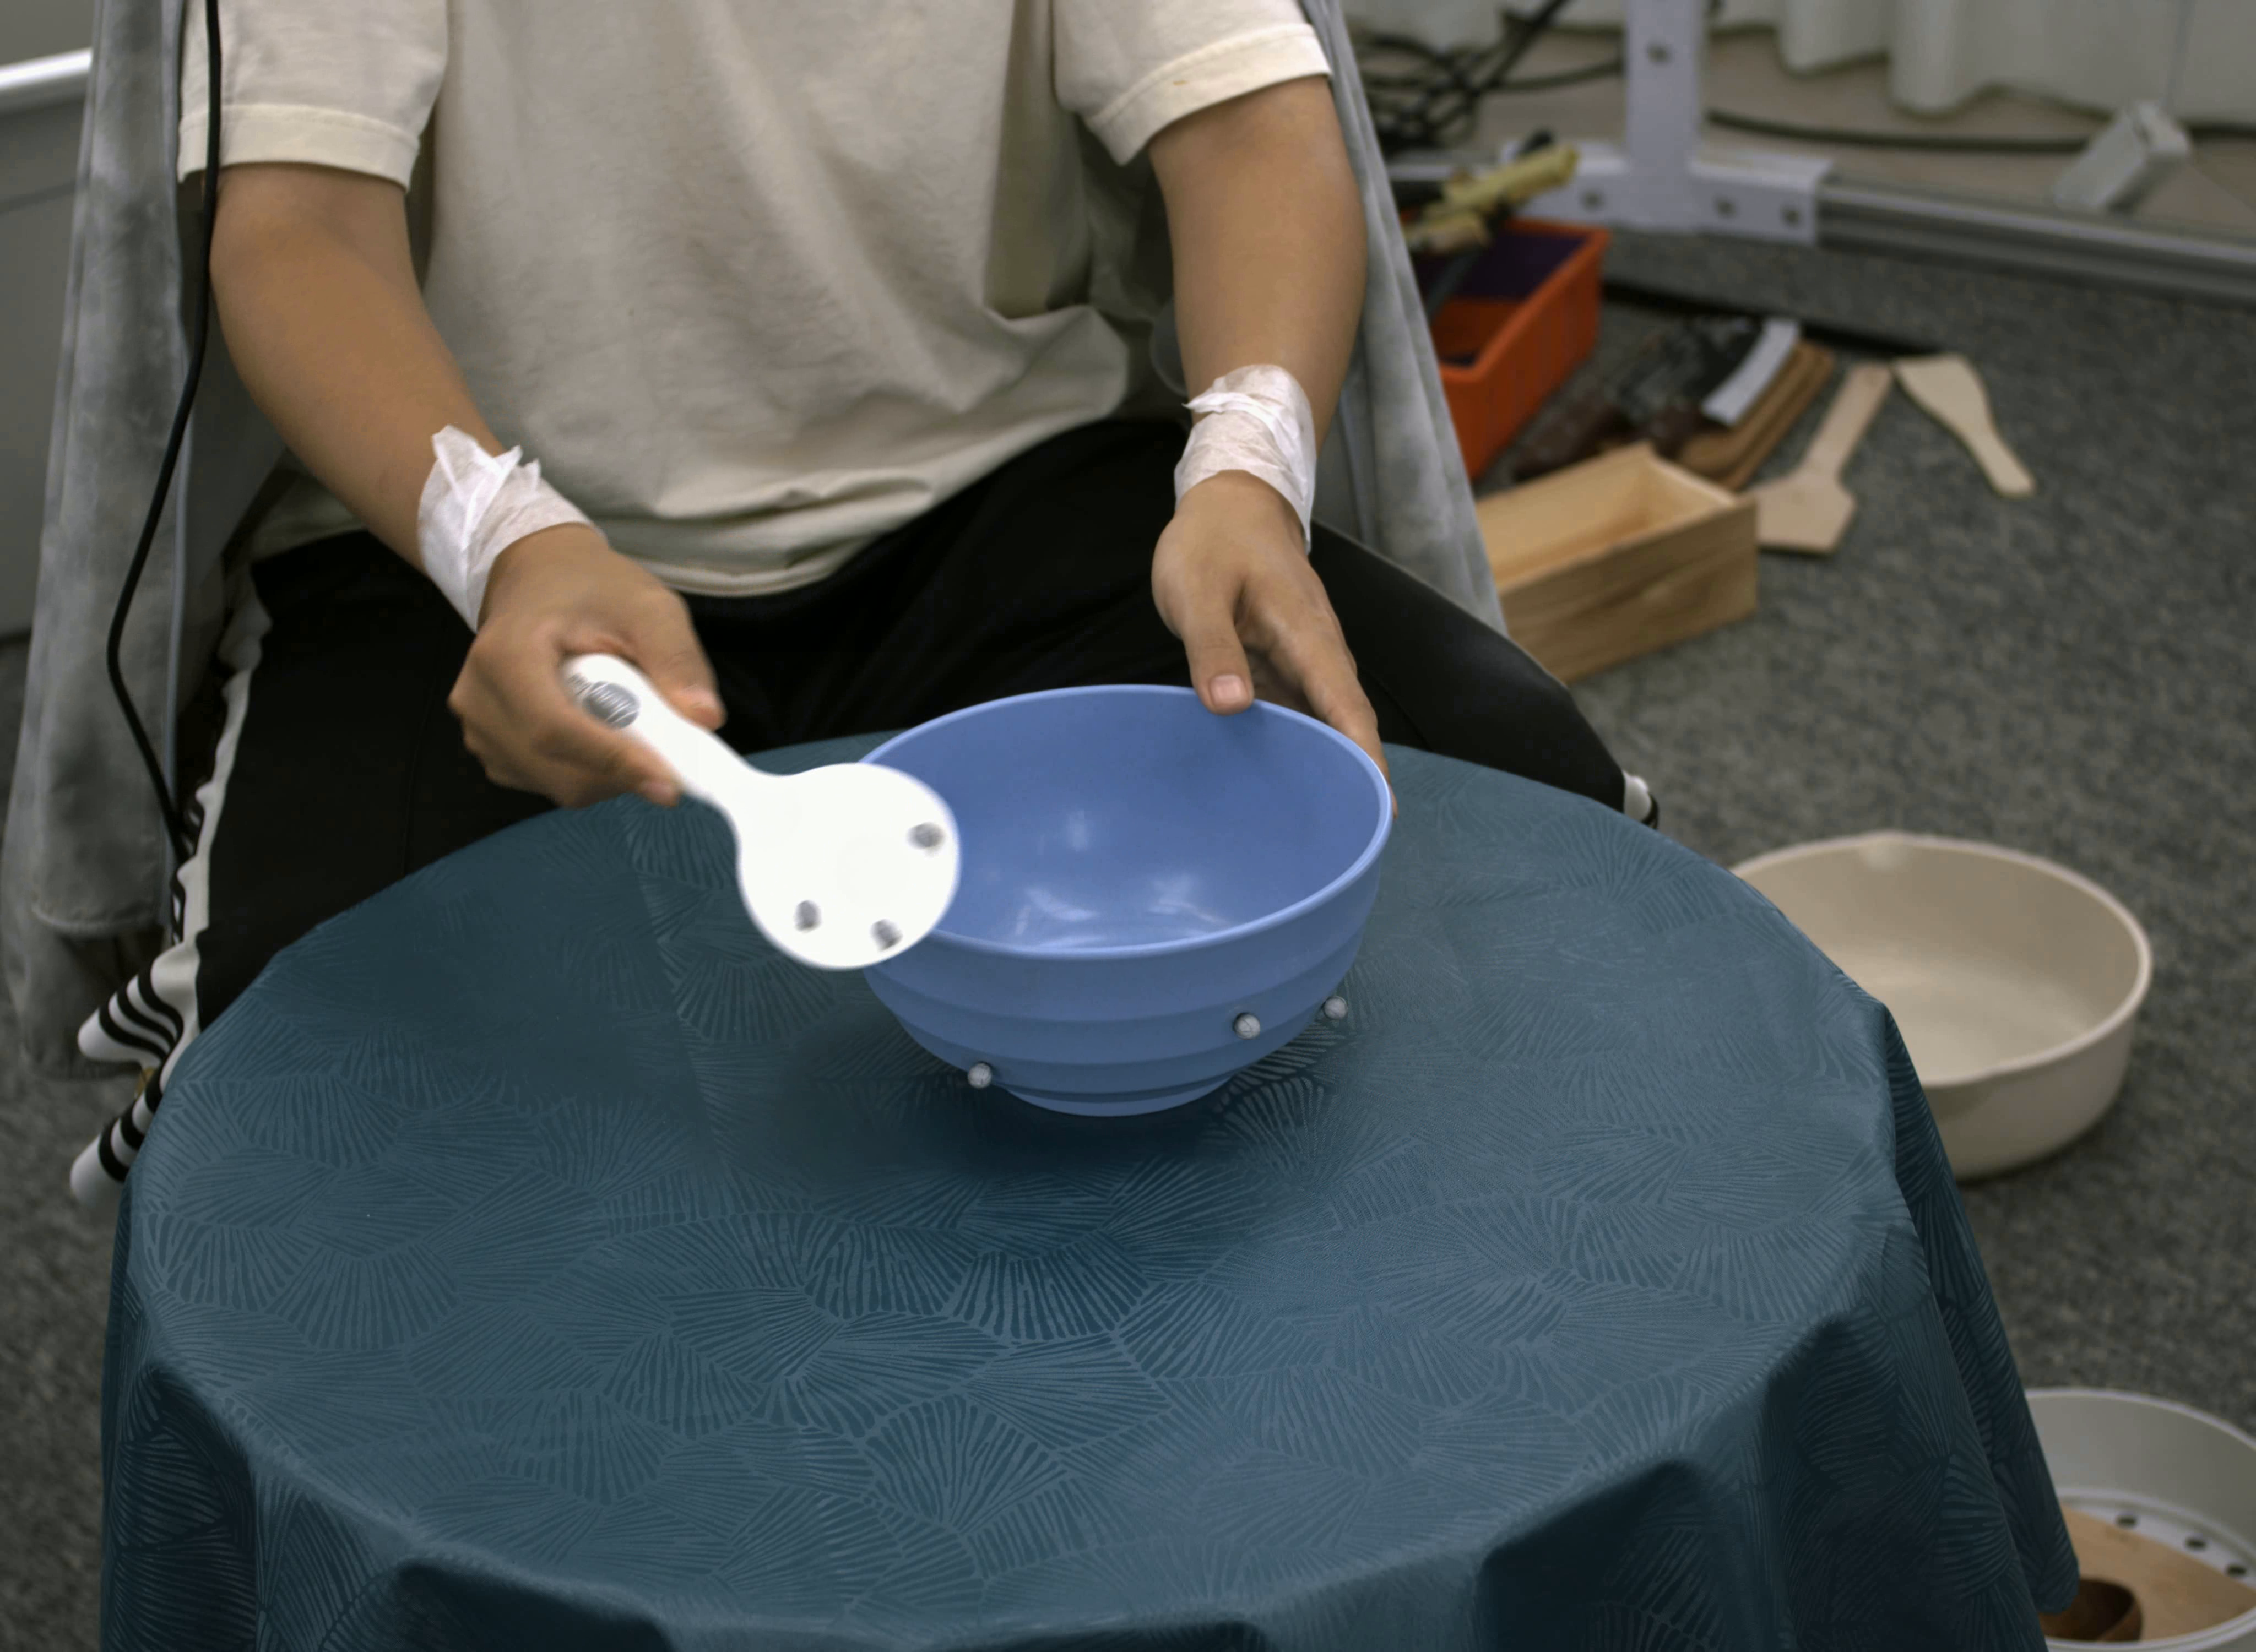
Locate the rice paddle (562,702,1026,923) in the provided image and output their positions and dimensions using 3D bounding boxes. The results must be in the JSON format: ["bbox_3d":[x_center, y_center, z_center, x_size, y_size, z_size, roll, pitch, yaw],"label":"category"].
[{"bbox_3d":[-0.111,-0.008,1.857,0.204,0.029,0.070,16,56,43],"label":"rice paddle"}]

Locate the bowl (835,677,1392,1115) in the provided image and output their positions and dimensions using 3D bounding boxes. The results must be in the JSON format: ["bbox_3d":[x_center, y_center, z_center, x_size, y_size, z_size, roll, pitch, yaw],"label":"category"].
[{"bbox_3d":[-0.006,0.035,1.923,0.195,0.094,0.199,-3,29,2],"label":"bowl"}]
